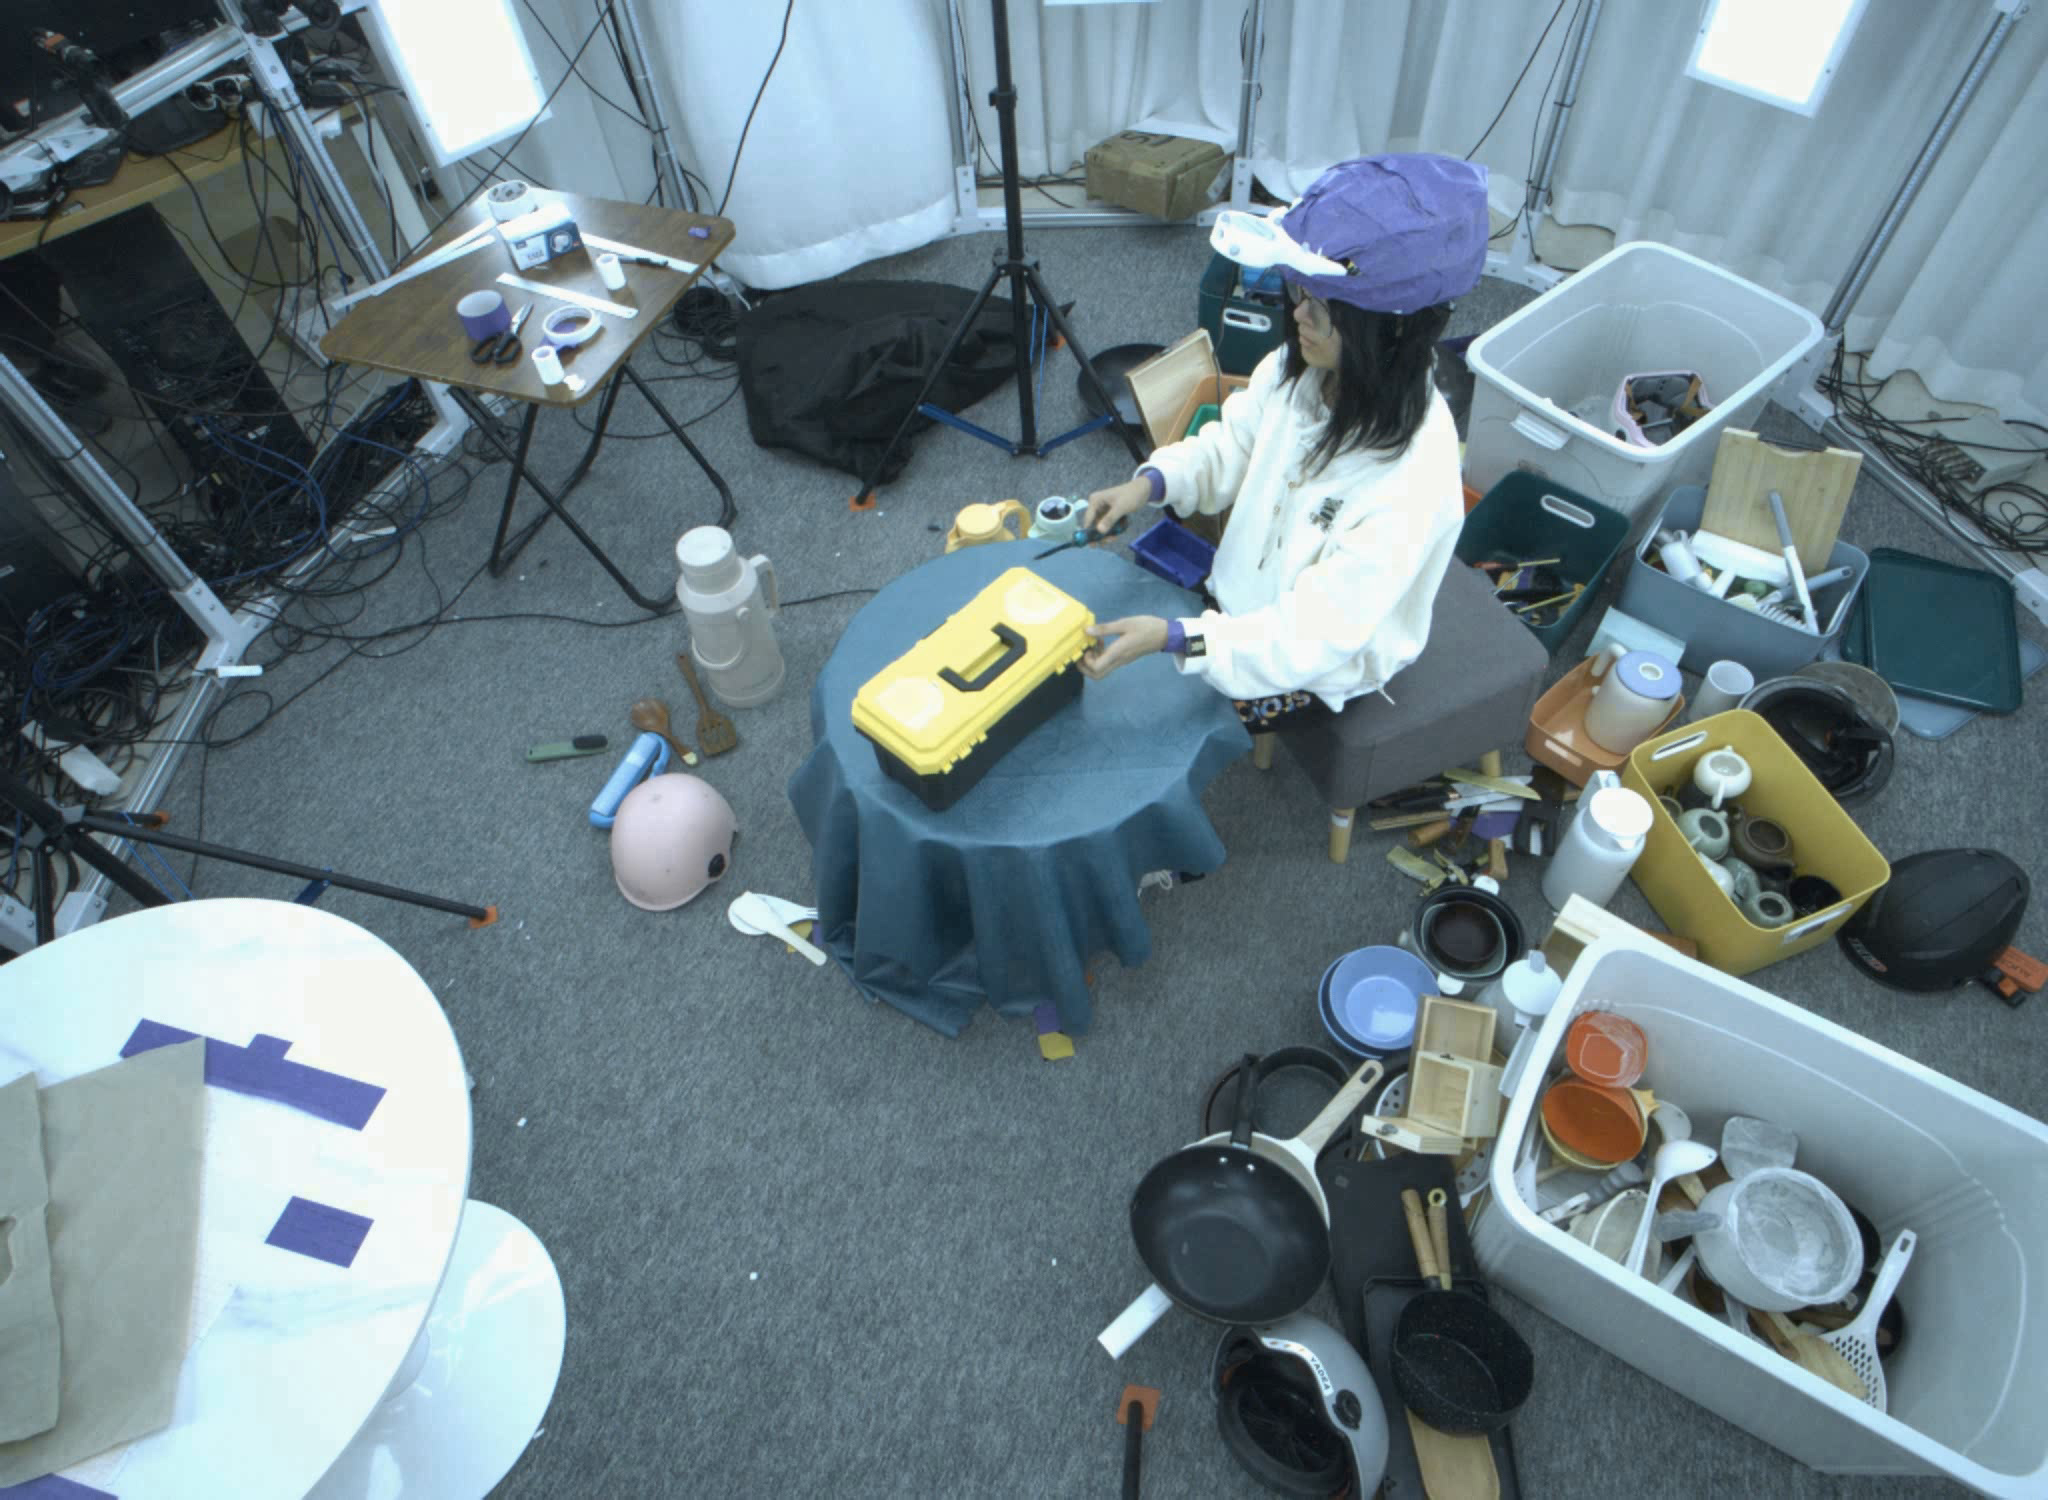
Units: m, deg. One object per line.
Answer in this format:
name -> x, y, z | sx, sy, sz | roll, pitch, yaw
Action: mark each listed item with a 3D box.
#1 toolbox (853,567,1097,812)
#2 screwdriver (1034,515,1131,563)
toolbox -> -0.064, -0.086, 1.744 | 0.178, 0.175, 0.354 | 37, 64, 25
screwdriver -> 0.085, -0.310, 1.823 | 0.192, 0.034, 0.033 | -29, 57, -33
